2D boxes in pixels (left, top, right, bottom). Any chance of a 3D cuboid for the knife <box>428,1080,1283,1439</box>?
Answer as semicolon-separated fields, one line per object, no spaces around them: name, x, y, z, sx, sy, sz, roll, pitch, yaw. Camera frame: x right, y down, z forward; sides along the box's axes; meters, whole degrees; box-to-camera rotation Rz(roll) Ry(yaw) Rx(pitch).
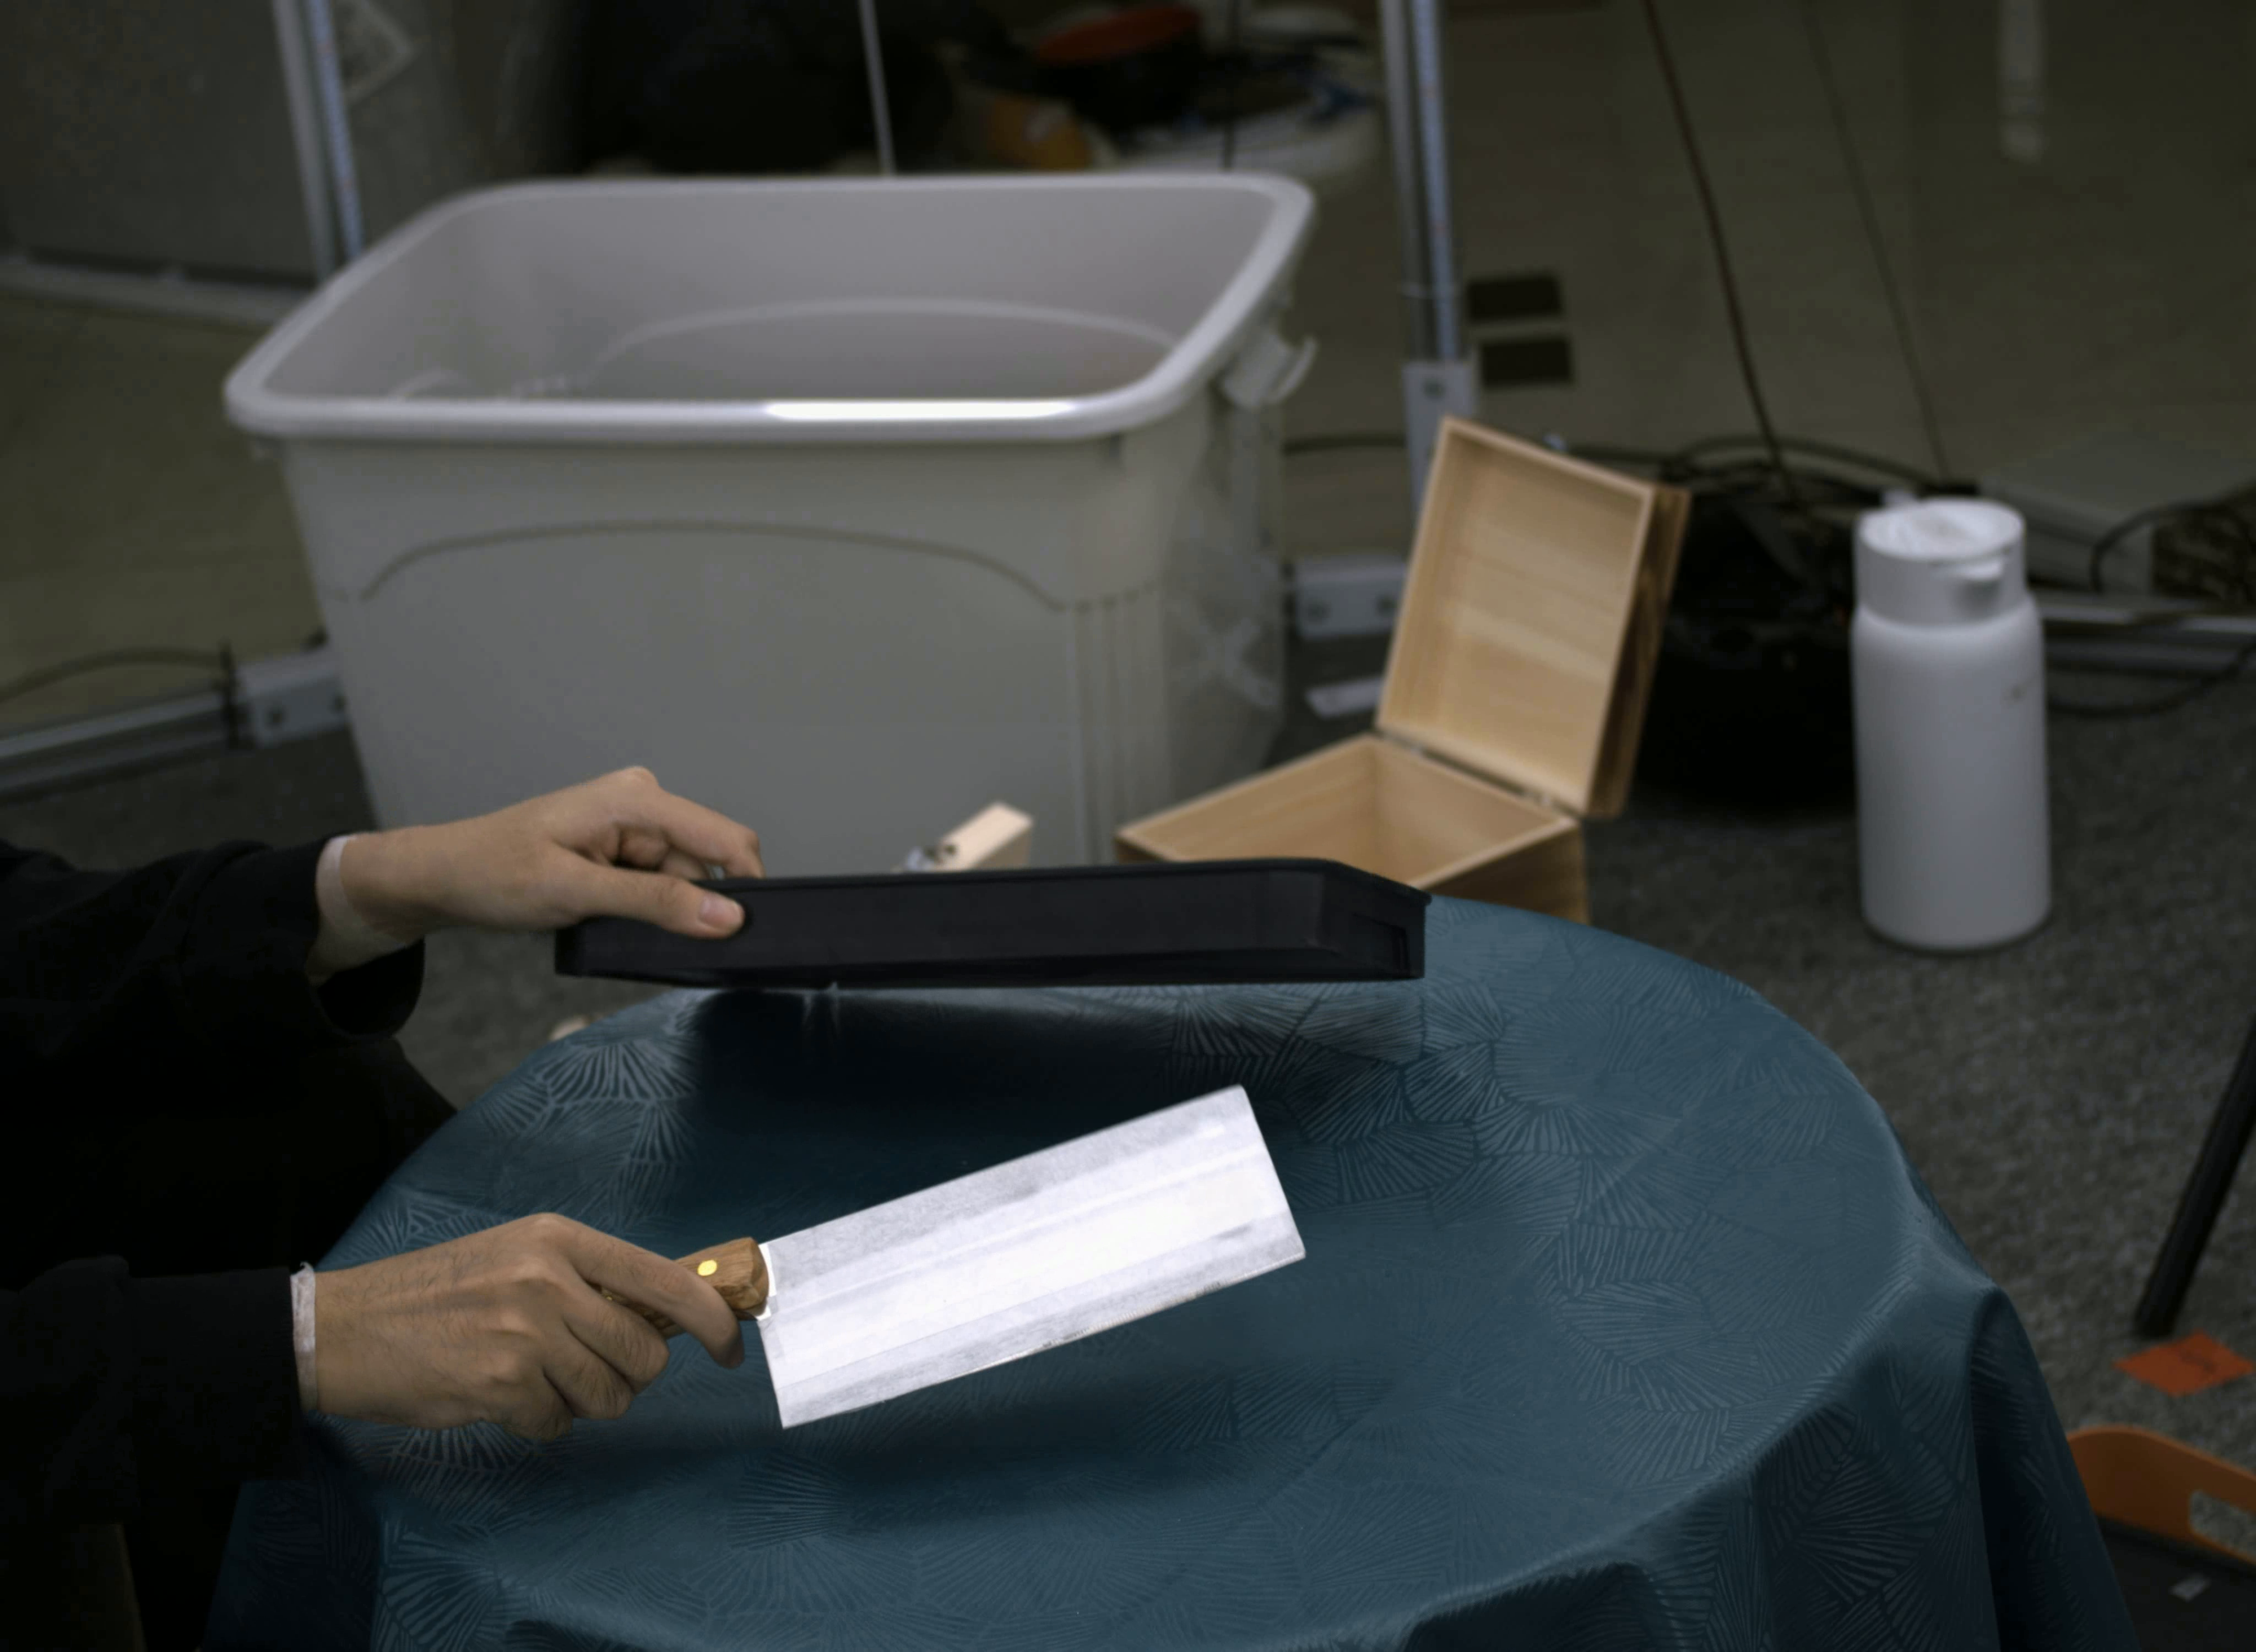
knife;-0.094;0.166;1.980;0.305;0.021;0.091;-19;44;-1

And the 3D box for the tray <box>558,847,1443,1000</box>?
tray;-0.047;0.040;2.208;0.317;0.037;0.185;-2;-7;16
